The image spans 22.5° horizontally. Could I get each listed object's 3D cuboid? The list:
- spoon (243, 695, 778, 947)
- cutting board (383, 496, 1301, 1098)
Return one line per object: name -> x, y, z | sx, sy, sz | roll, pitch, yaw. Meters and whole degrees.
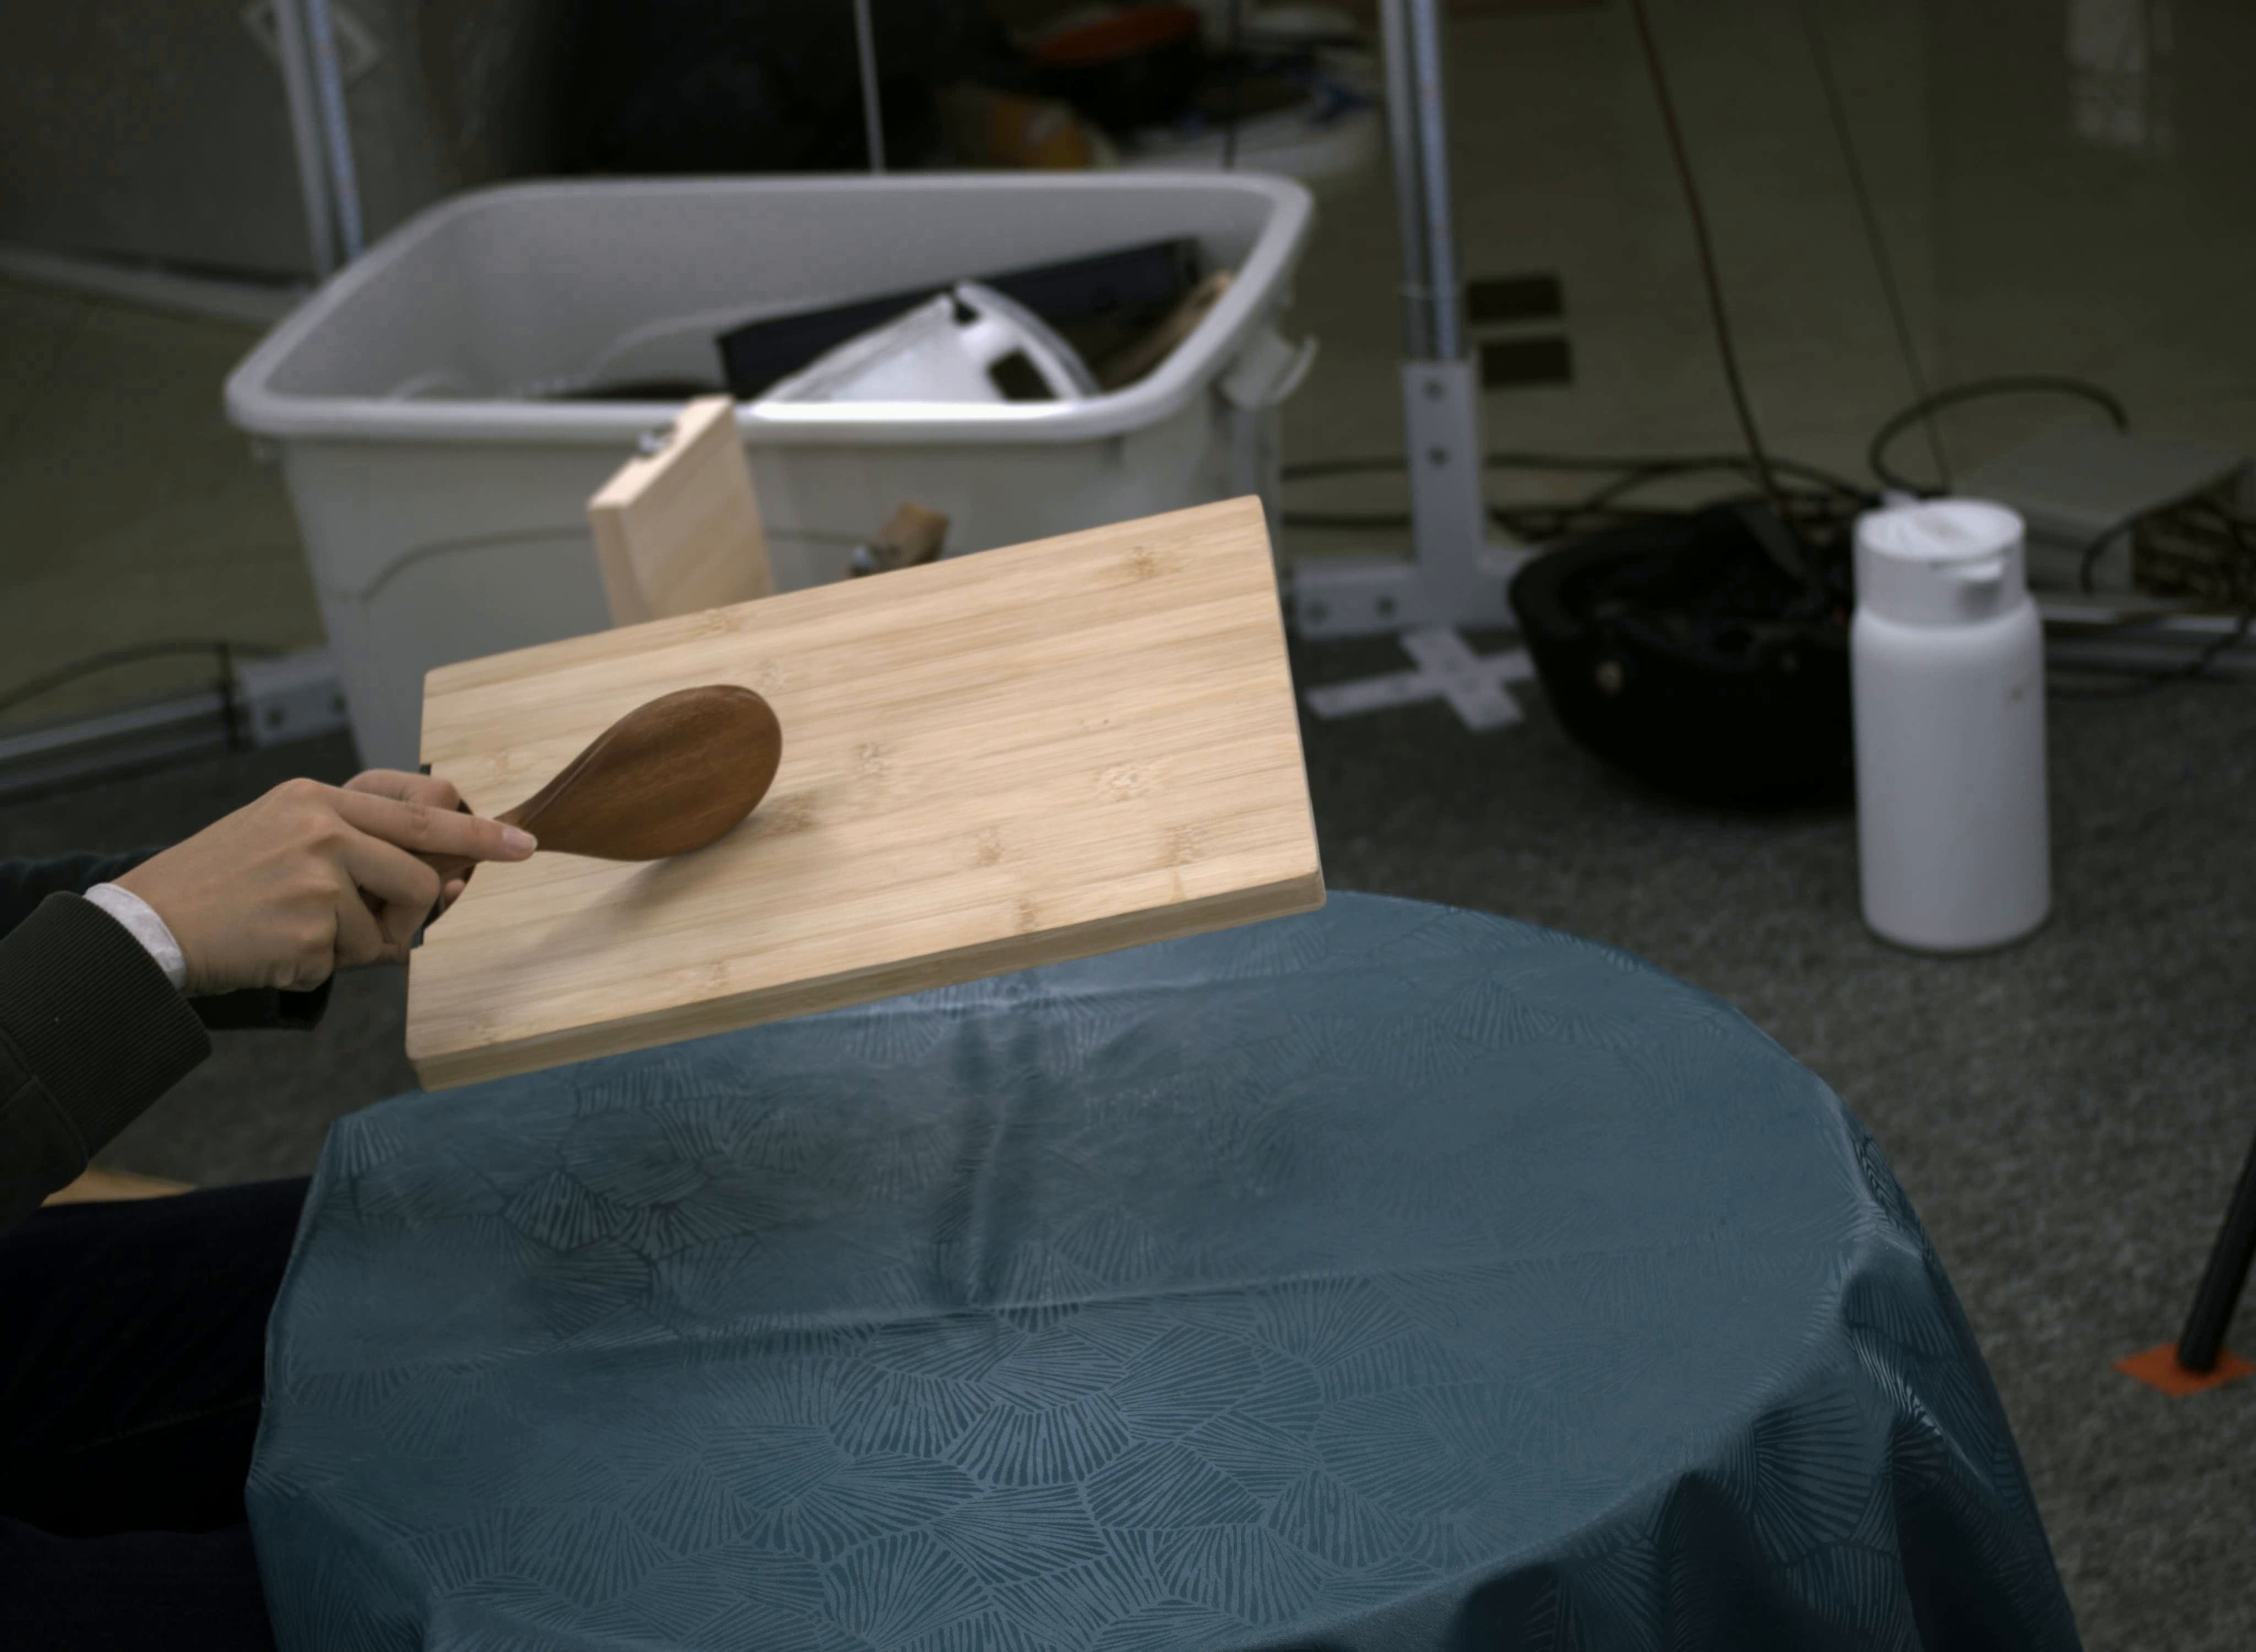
spoon -> -0.221, 0.003, 2.064 | 0.215, 0.077, 0.017 | -18, 49, -24
cutting board -> -0.109, -0.014, 2.142 | 0.348, 0.024, 0.246 | -12, 38, 4
